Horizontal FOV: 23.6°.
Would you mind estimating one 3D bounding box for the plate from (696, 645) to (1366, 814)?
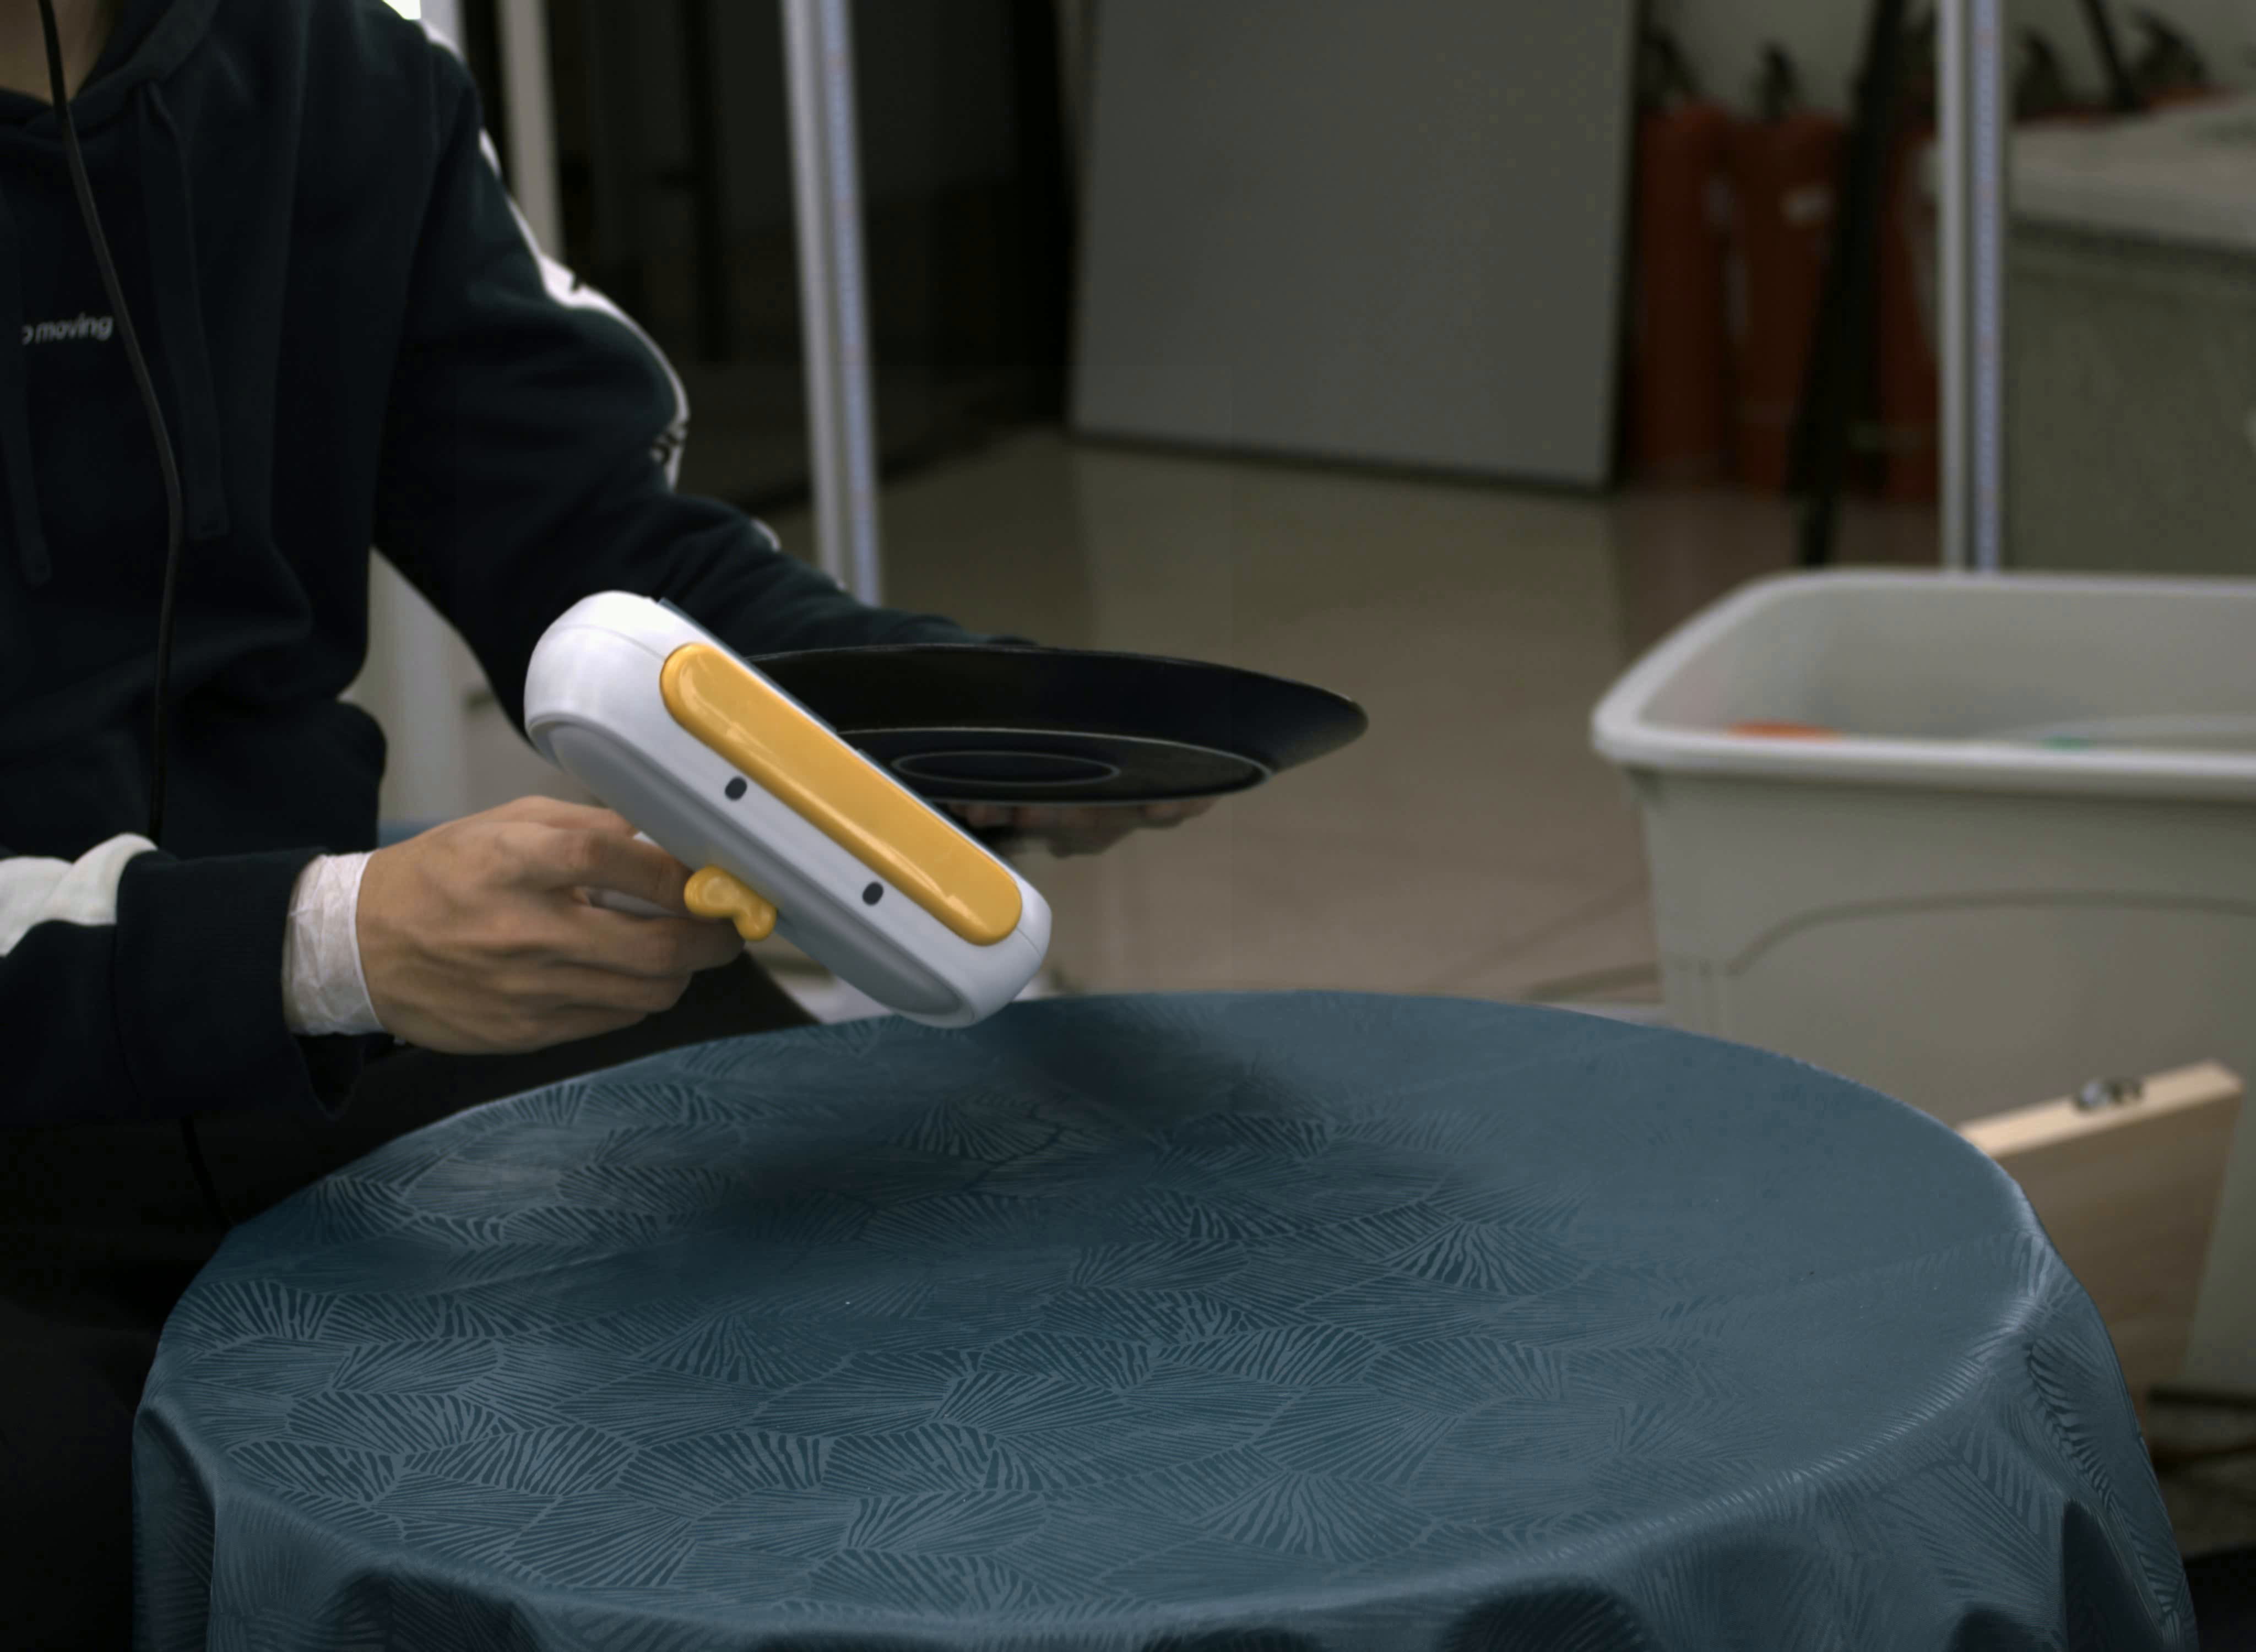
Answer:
[{"bbox_3d":[-0.041,-0.029,1.808,0.241,0.024,0.244,2,-8,-1],"label":"plate"}]

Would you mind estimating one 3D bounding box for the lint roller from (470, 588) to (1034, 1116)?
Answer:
[{"bbox_3d":[-0.148,0.028,1.727,0.194,0.190,0.074,-38,27,45],"label":"lint roller"}]
